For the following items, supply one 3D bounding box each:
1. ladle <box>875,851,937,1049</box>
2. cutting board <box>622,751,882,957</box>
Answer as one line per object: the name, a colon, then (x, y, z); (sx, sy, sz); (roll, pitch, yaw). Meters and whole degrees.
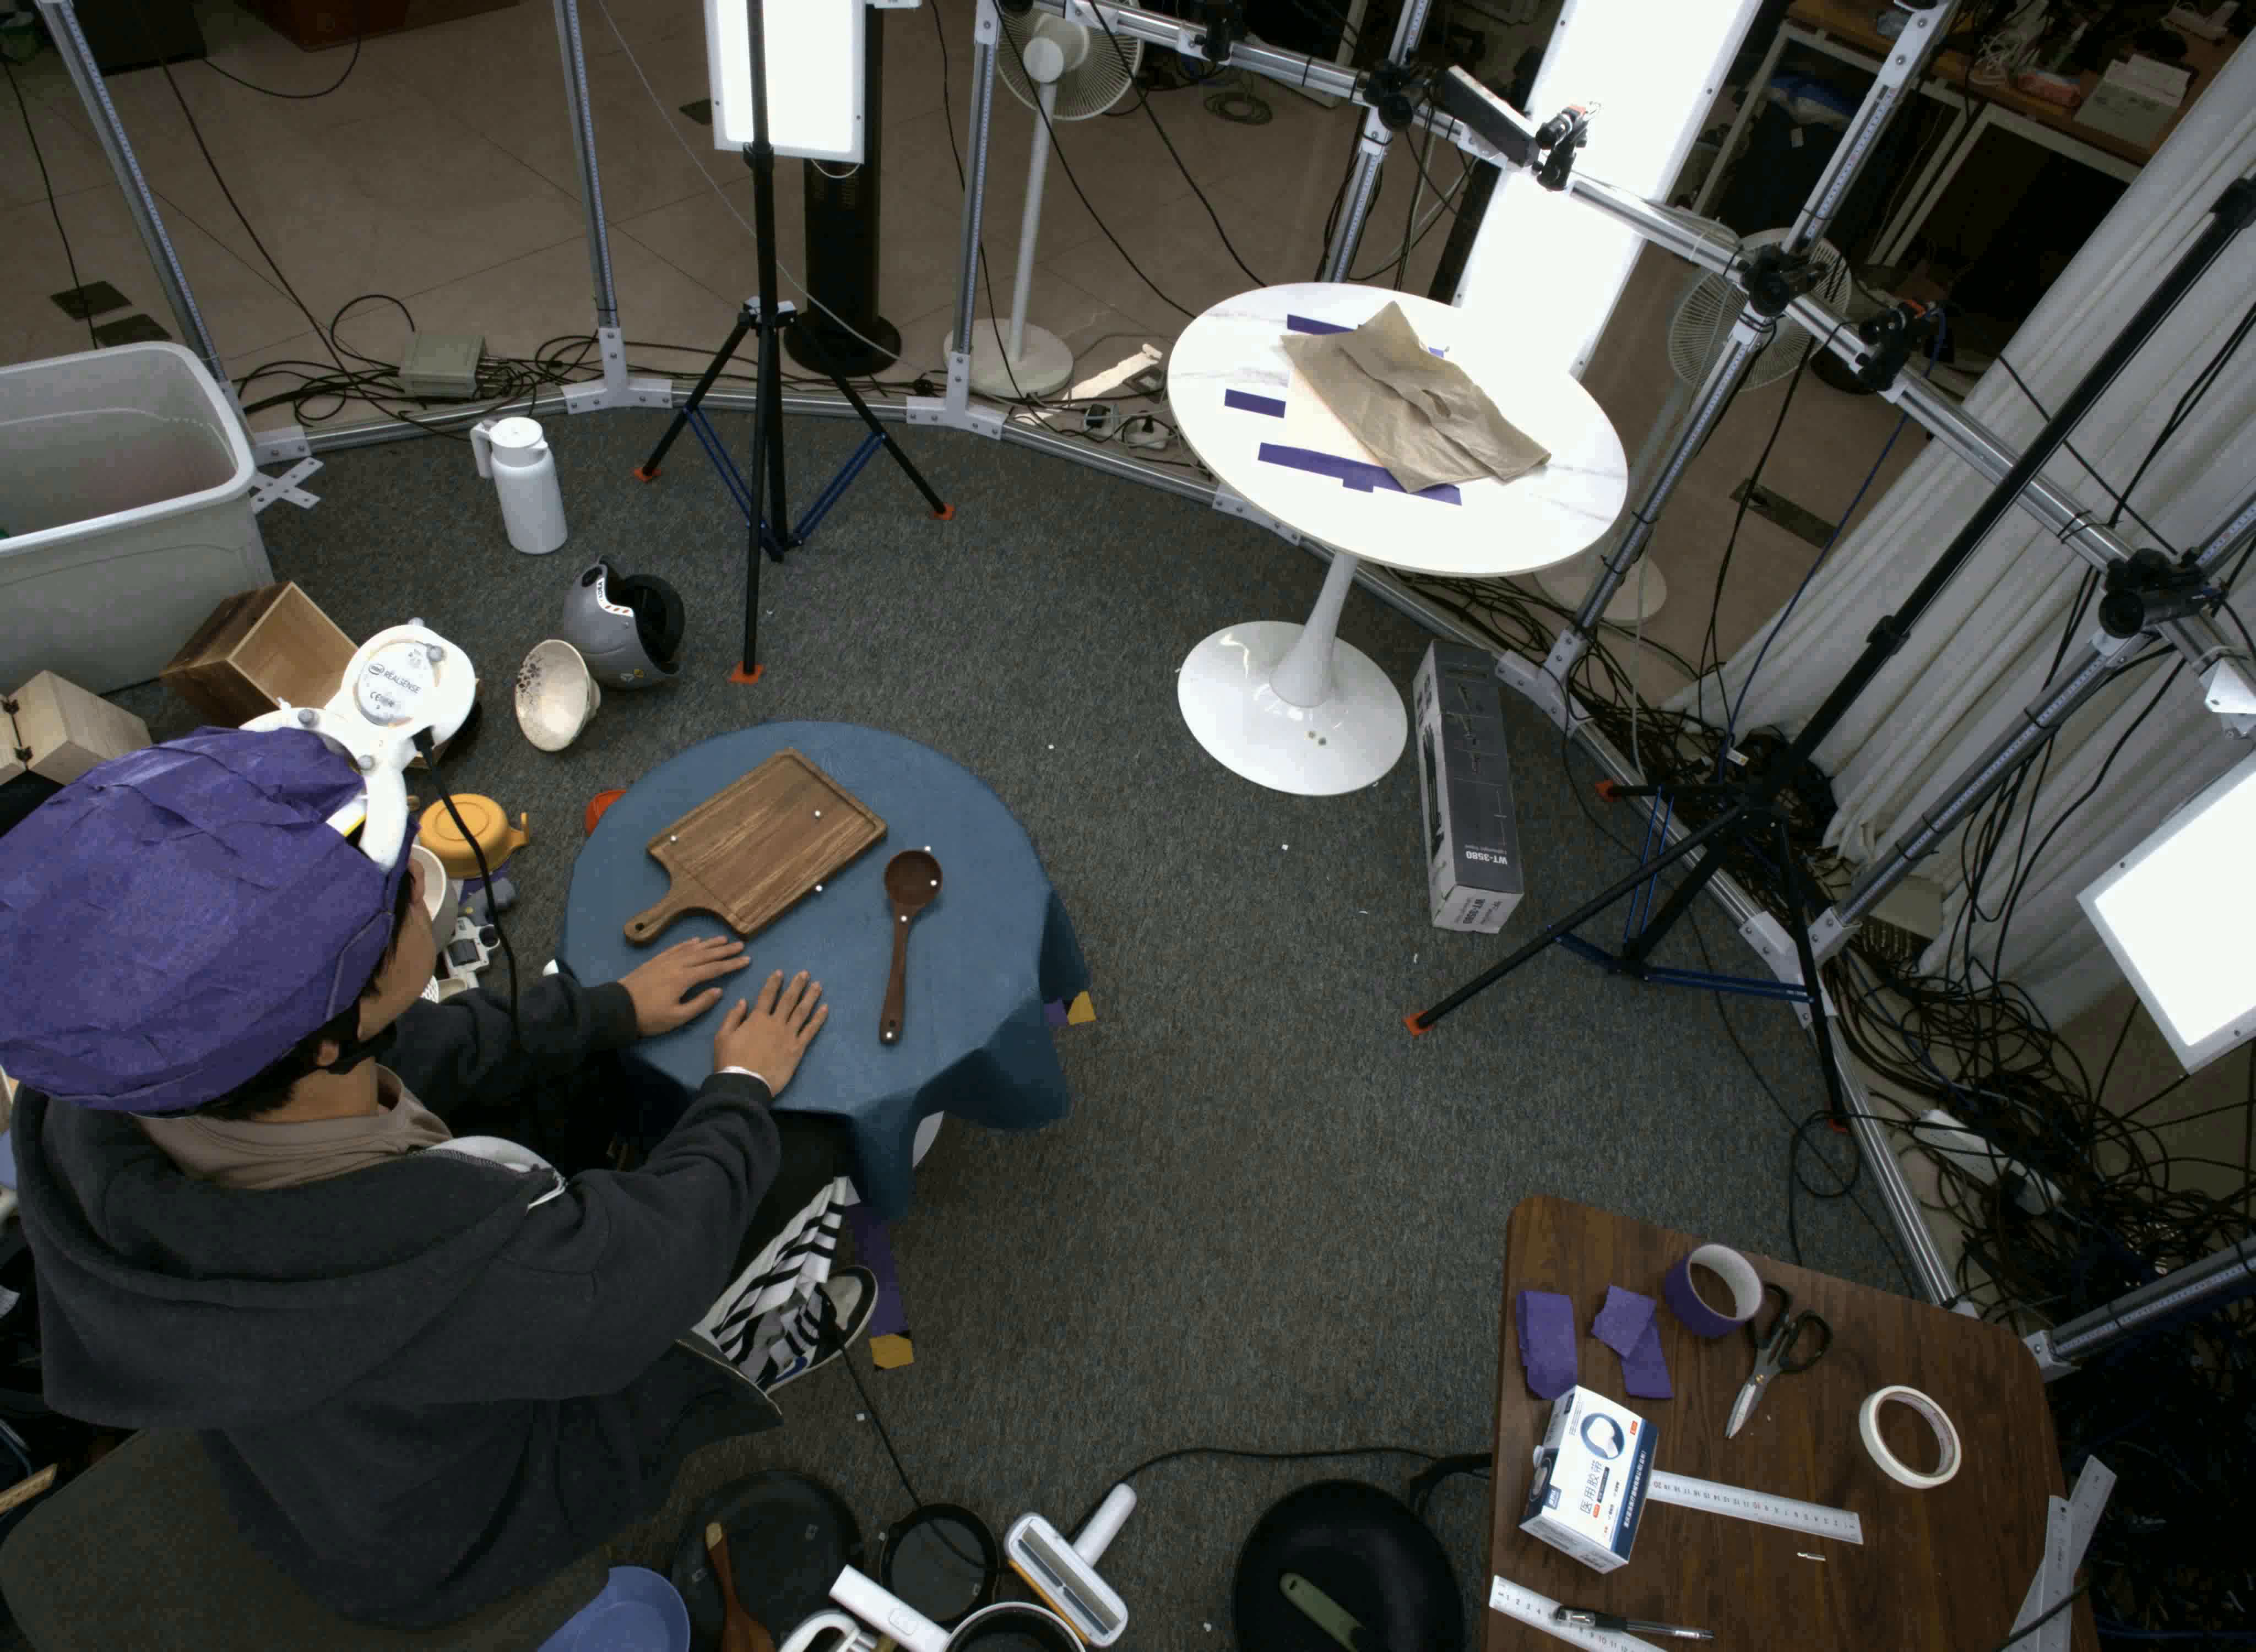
ladle: (-0.285, 0.146, 1.614); (0.077, 0.066, 0.255); (12, 51, -14)
cutting board: (-0.506, 0.048, 1.657); (0.197, 0.024, 0.352); (37, 53, 15)
